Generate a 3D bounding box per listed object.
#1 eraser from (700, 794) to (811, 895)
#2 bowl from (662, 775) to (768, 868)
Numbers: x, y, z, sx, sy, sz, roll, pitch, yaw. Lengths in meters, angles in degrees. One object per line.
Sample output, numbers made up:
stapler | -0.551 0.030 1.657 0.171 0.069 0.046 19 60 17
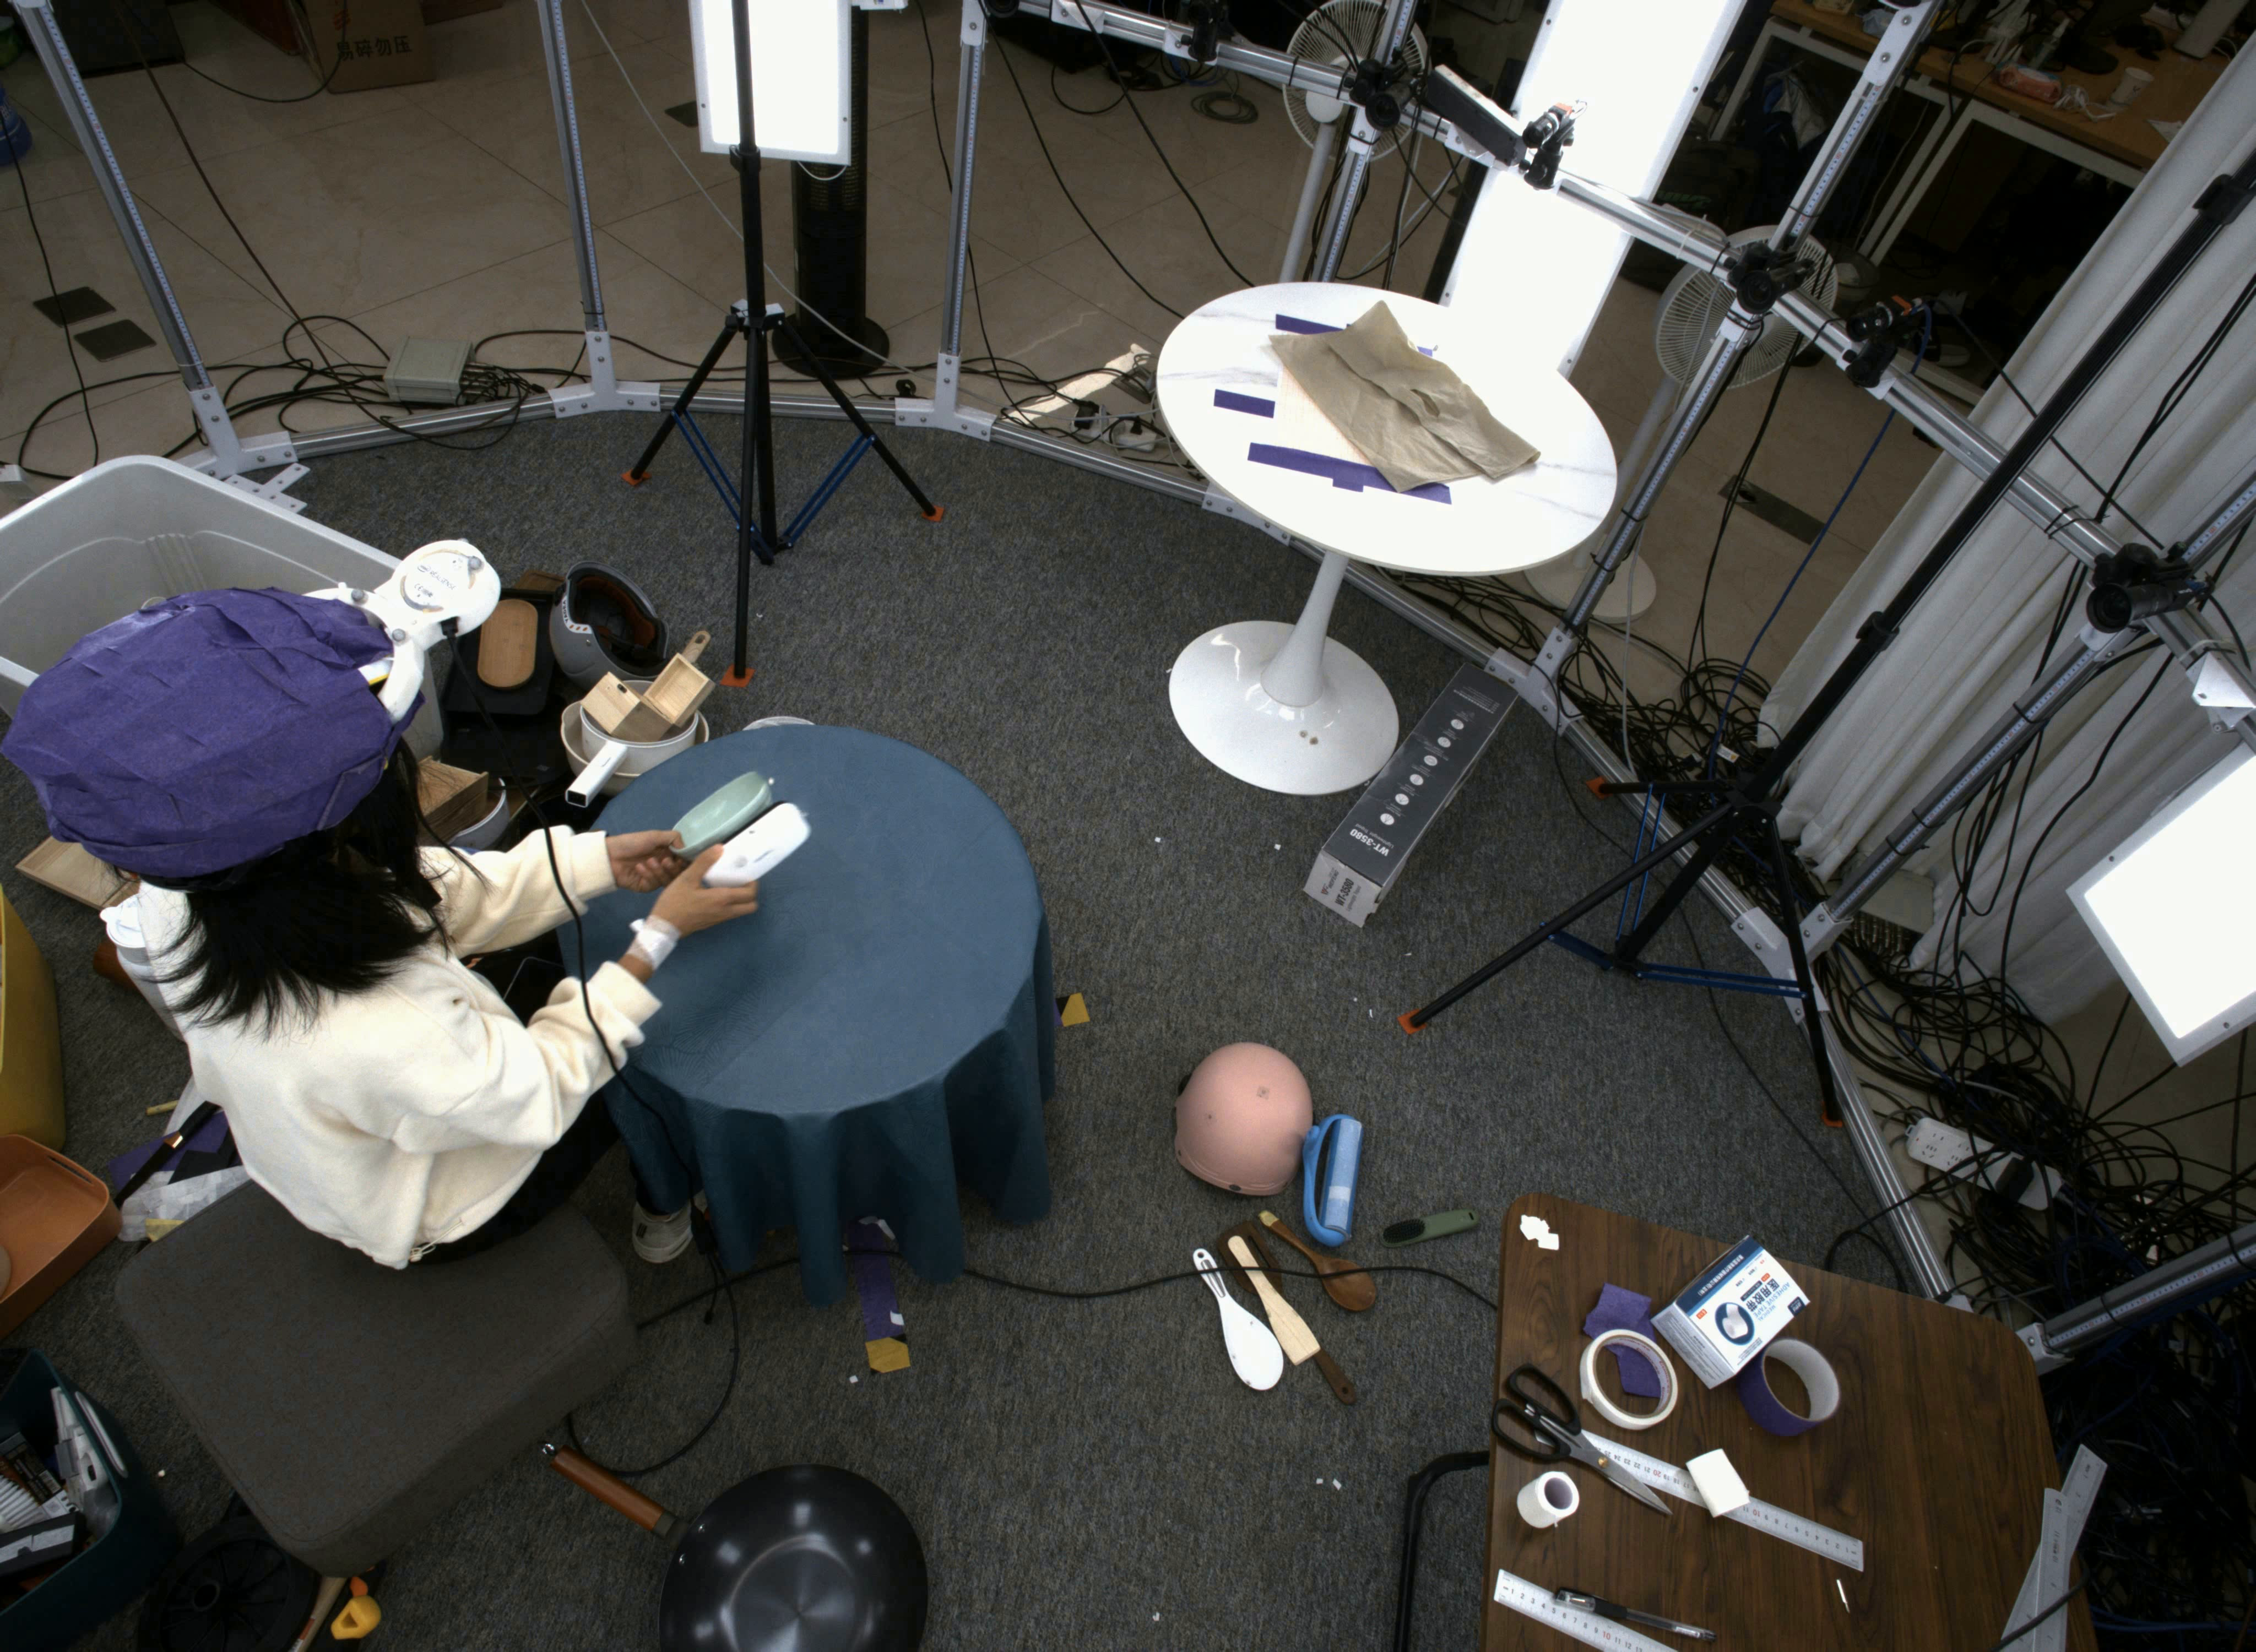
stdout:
eraser | -0.429 0.020 1.493 0.131 0.065 0.033 -39 56 -14
bowl | -0.479 0.003 1.534 0.151 0.147 0.060 -48 117 -37
